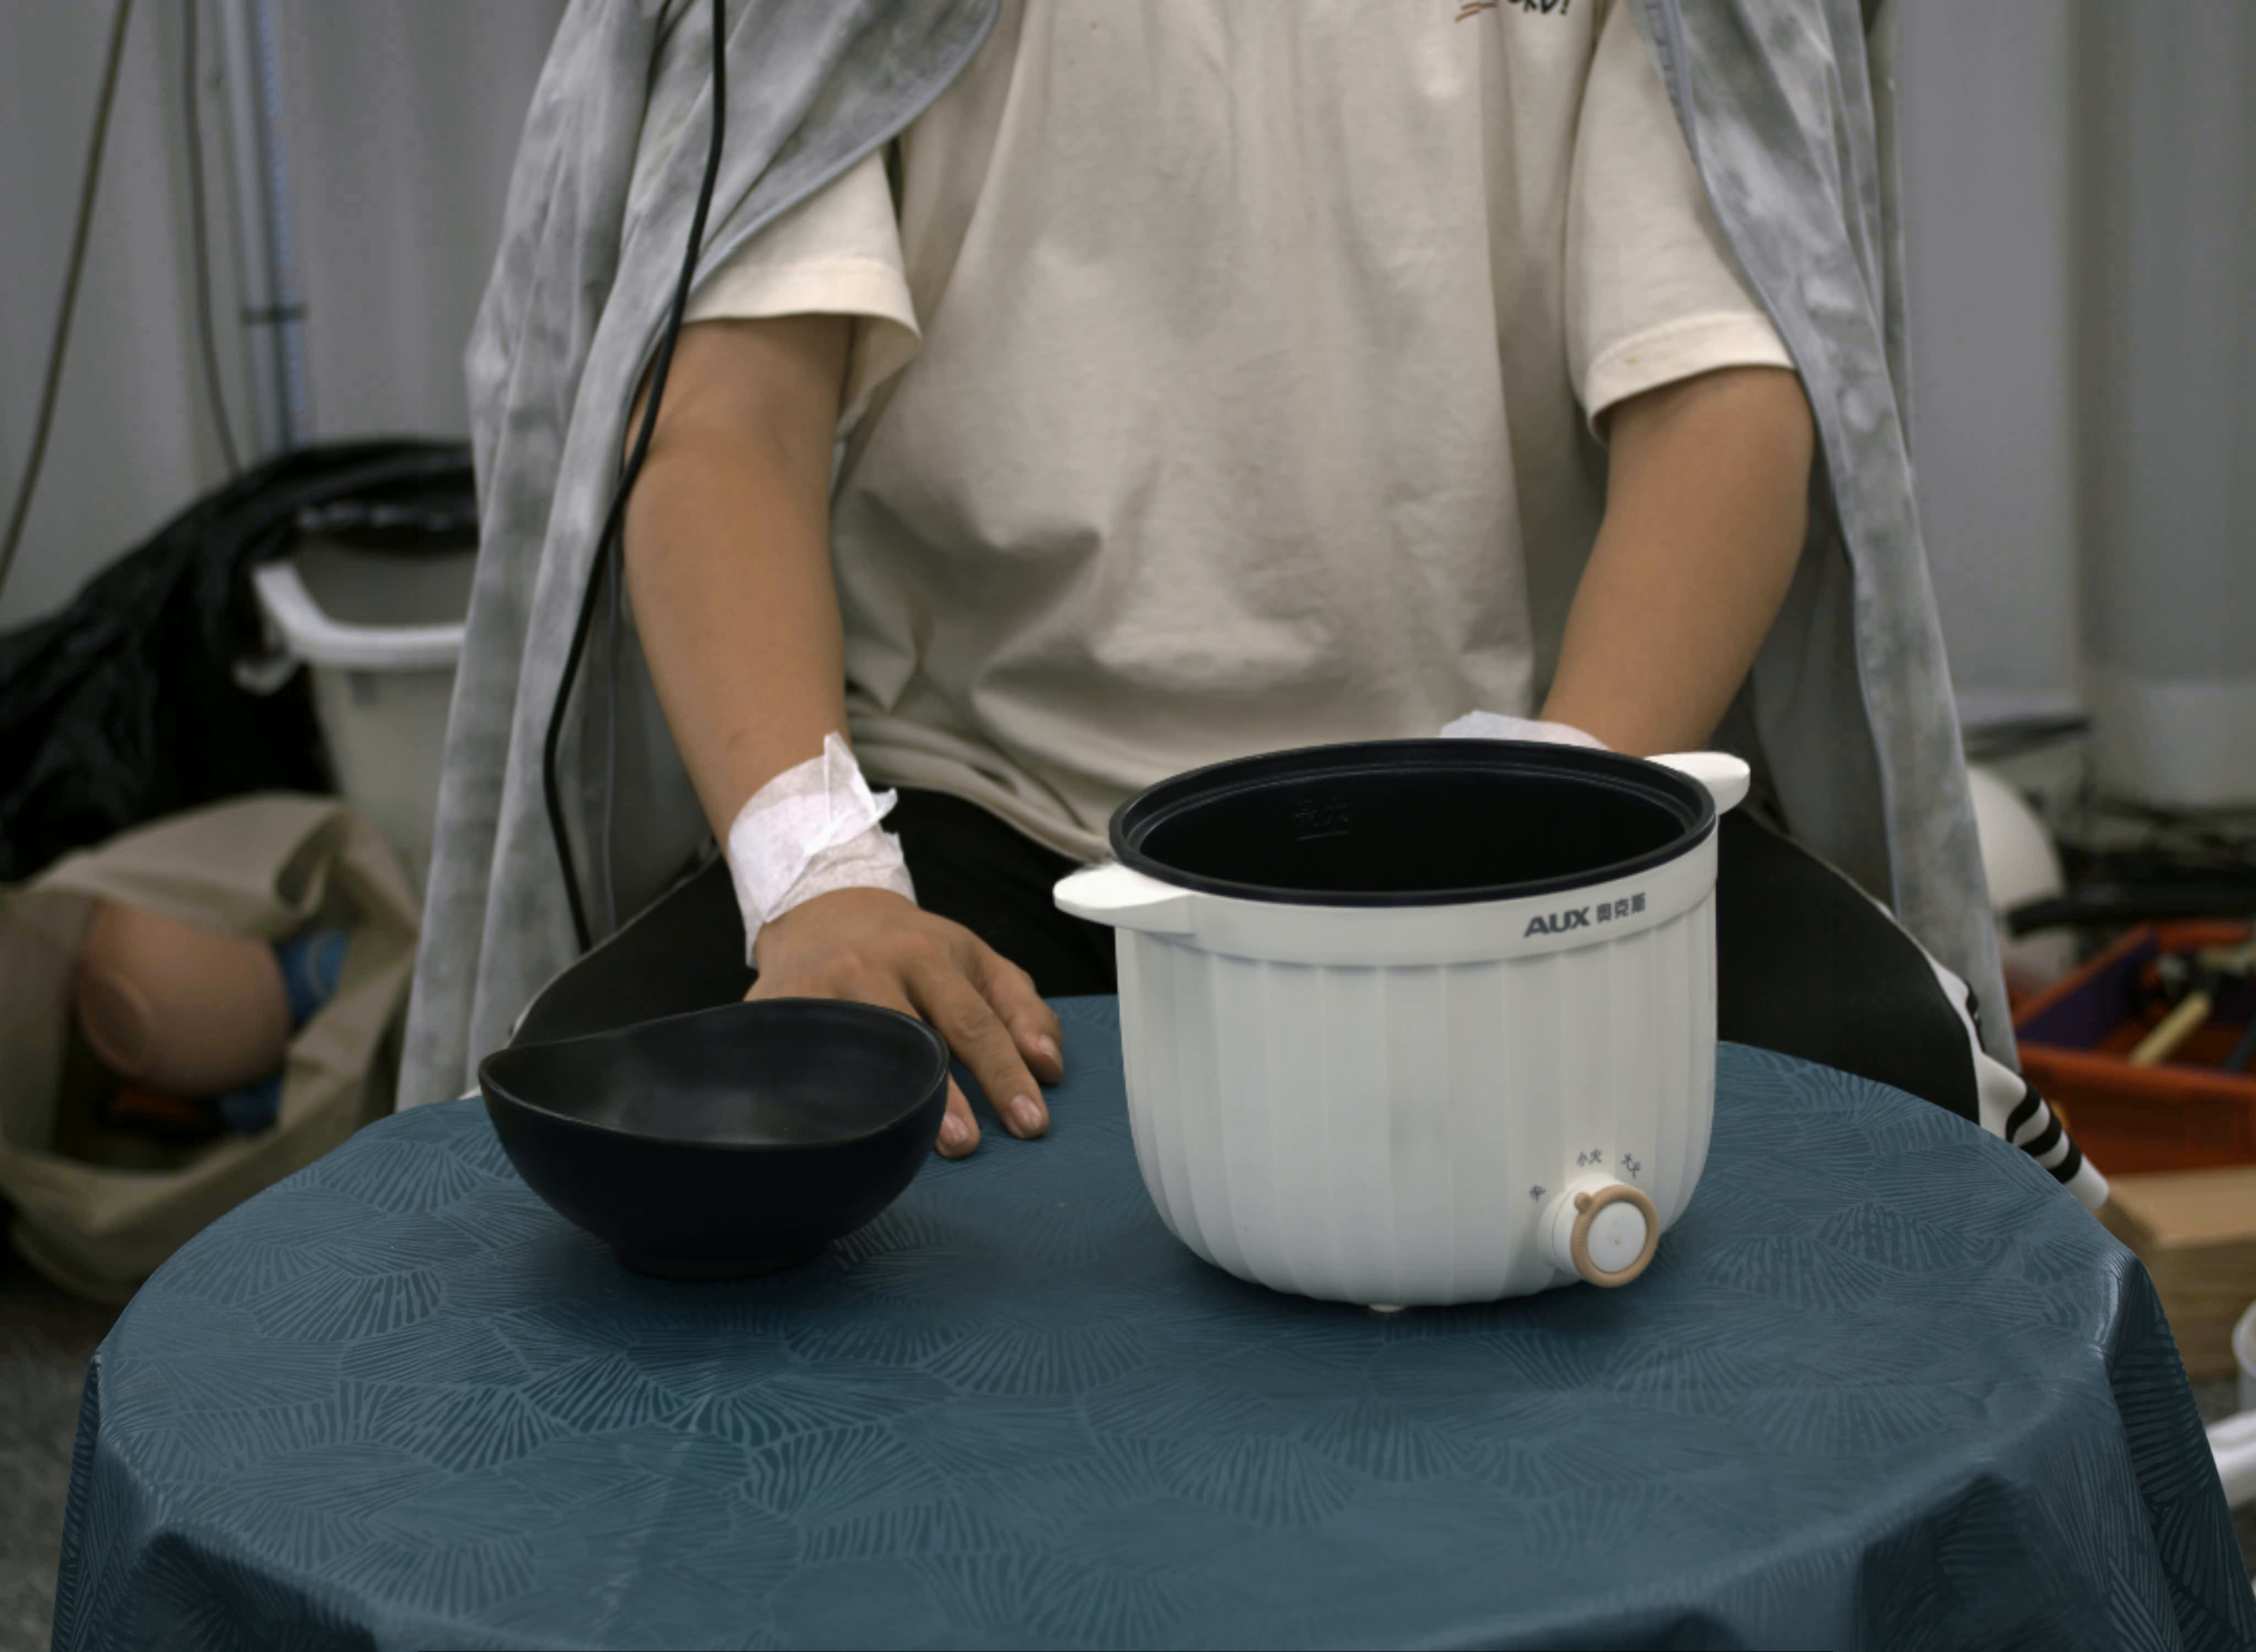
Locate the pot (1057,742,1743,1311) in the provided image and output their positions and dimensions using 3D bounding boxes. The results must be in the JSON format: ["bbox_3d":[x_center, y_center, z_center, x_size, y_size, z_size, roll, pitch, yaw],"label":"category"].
[{"bbox_3d":[0.091,0.061,1.637,0.239,0.142,0.191,-12,14,-30],"label":"pot"}]

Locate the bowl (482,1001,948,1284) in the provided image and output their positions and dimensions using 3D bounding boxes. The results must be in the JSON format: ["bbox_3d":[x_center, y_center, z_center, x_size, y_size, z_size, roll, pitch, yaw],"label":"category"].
[{"bbox_3d":[-0.127,0.100,1.675,0.137,0.066,0.171,-10,15,-30],"label":"bowl"}]
